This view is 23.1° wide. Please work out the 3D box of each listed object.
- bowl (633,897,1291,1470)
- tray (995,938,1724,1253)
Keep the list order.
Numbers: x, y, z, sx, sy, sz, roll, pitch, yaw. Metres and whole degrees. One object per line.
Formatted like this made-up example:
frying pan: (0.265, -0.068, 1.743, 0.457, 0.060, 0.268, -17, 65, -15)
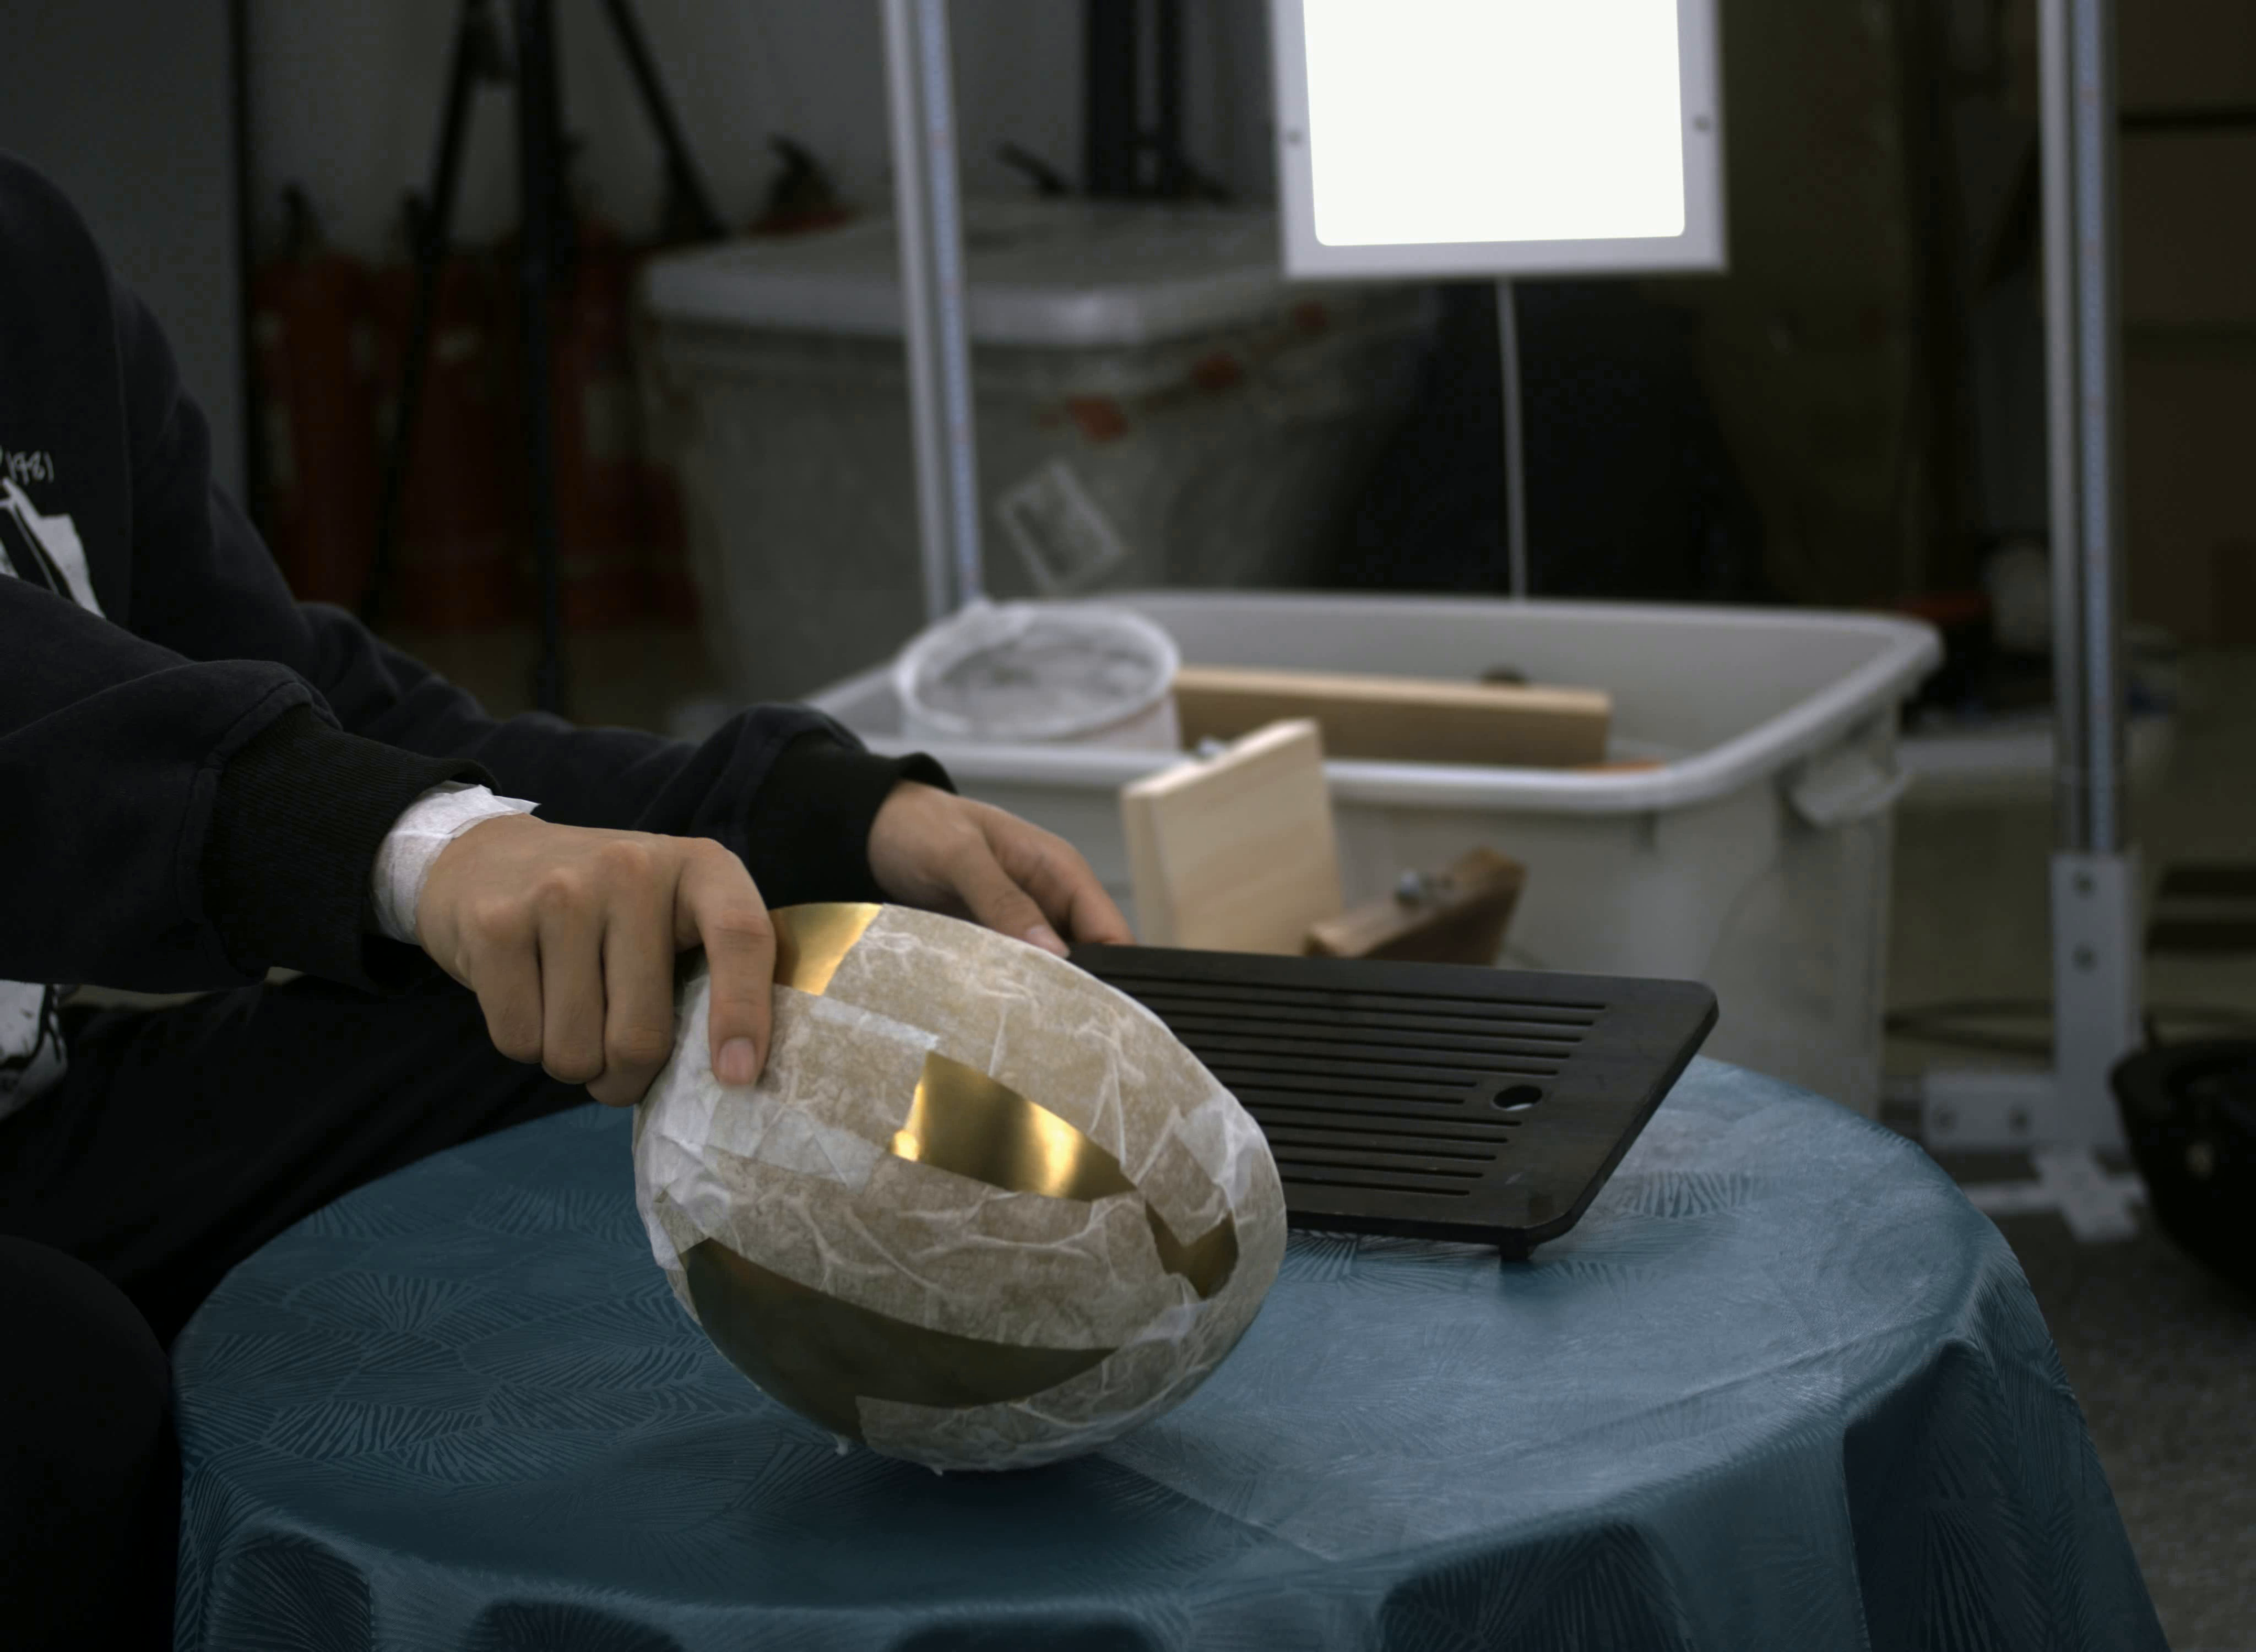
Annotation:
bowl: (-0.062, 0.124, 1.606, 0.218, 0.213, 0.093, 4, 48, 29)
tray: (0.041, 0.092, 1.915, 0.311, 0.018, 0.167, 2, 28, 29)
